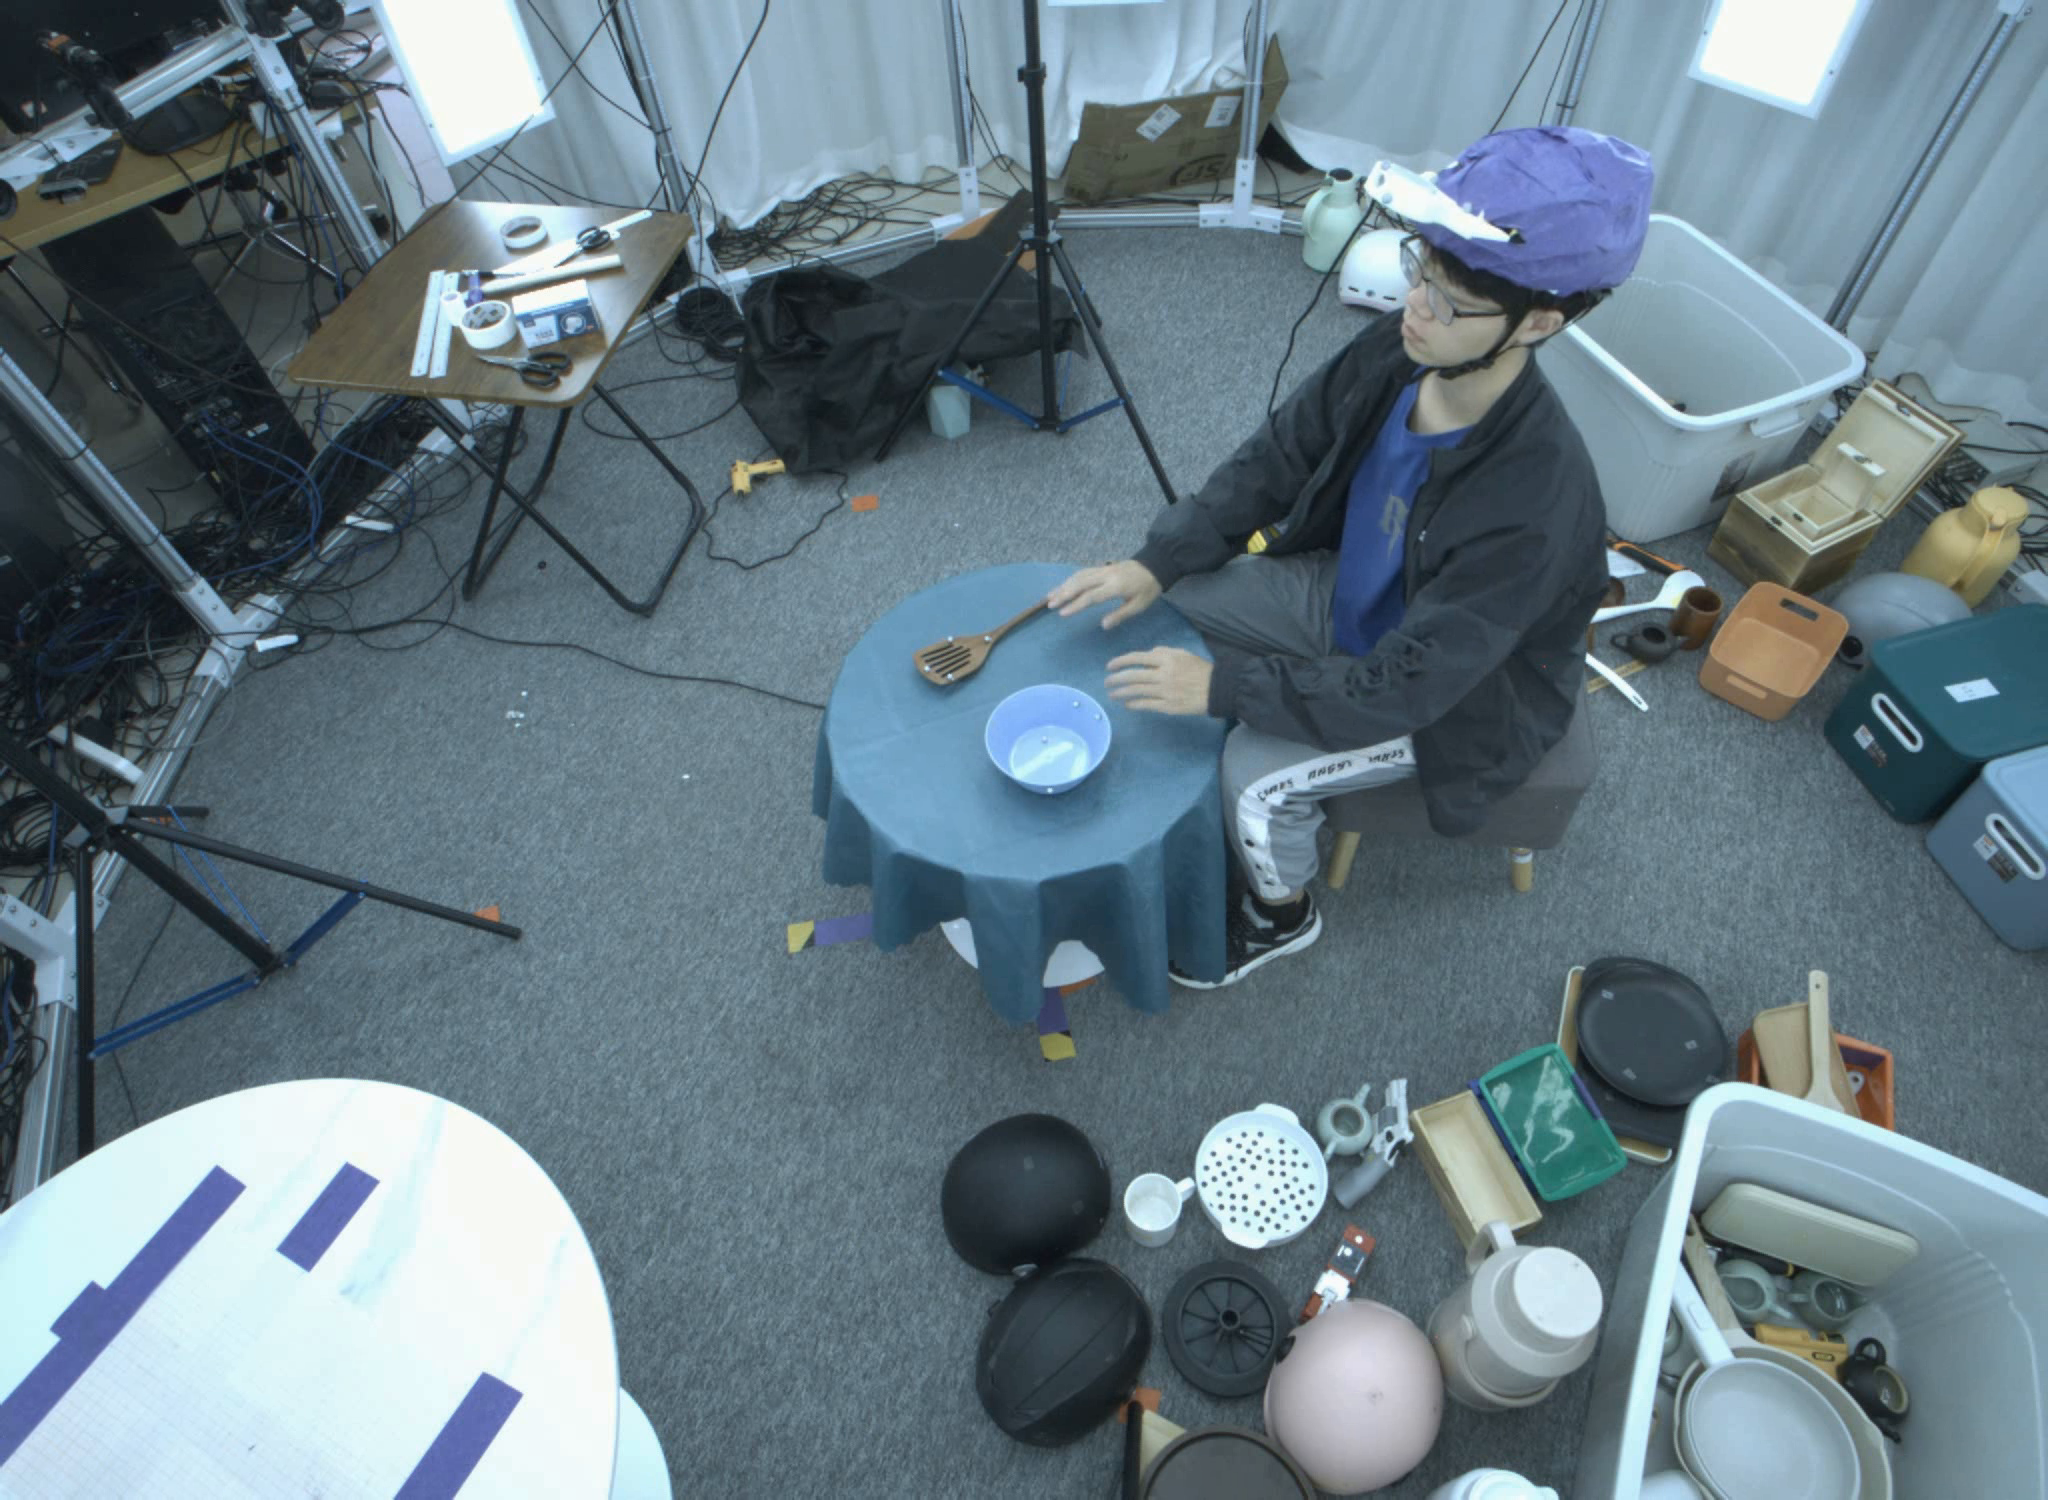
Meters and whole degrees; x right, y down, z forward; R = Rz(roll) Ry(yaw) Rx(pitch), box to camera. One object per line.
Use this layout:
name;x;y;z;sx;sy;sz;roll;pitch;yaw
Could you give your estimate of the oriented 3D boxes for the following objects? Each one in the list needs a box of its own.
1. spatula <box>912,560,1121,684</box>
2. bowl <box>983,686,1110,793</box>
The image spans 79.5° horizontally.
spatula;-0.001;-0.207;1.915;0.390;0.024;0.084;-32;60;-21
bowl;0.033;-0.004;1.736;0.176;0.071;0.174;0;54;1
